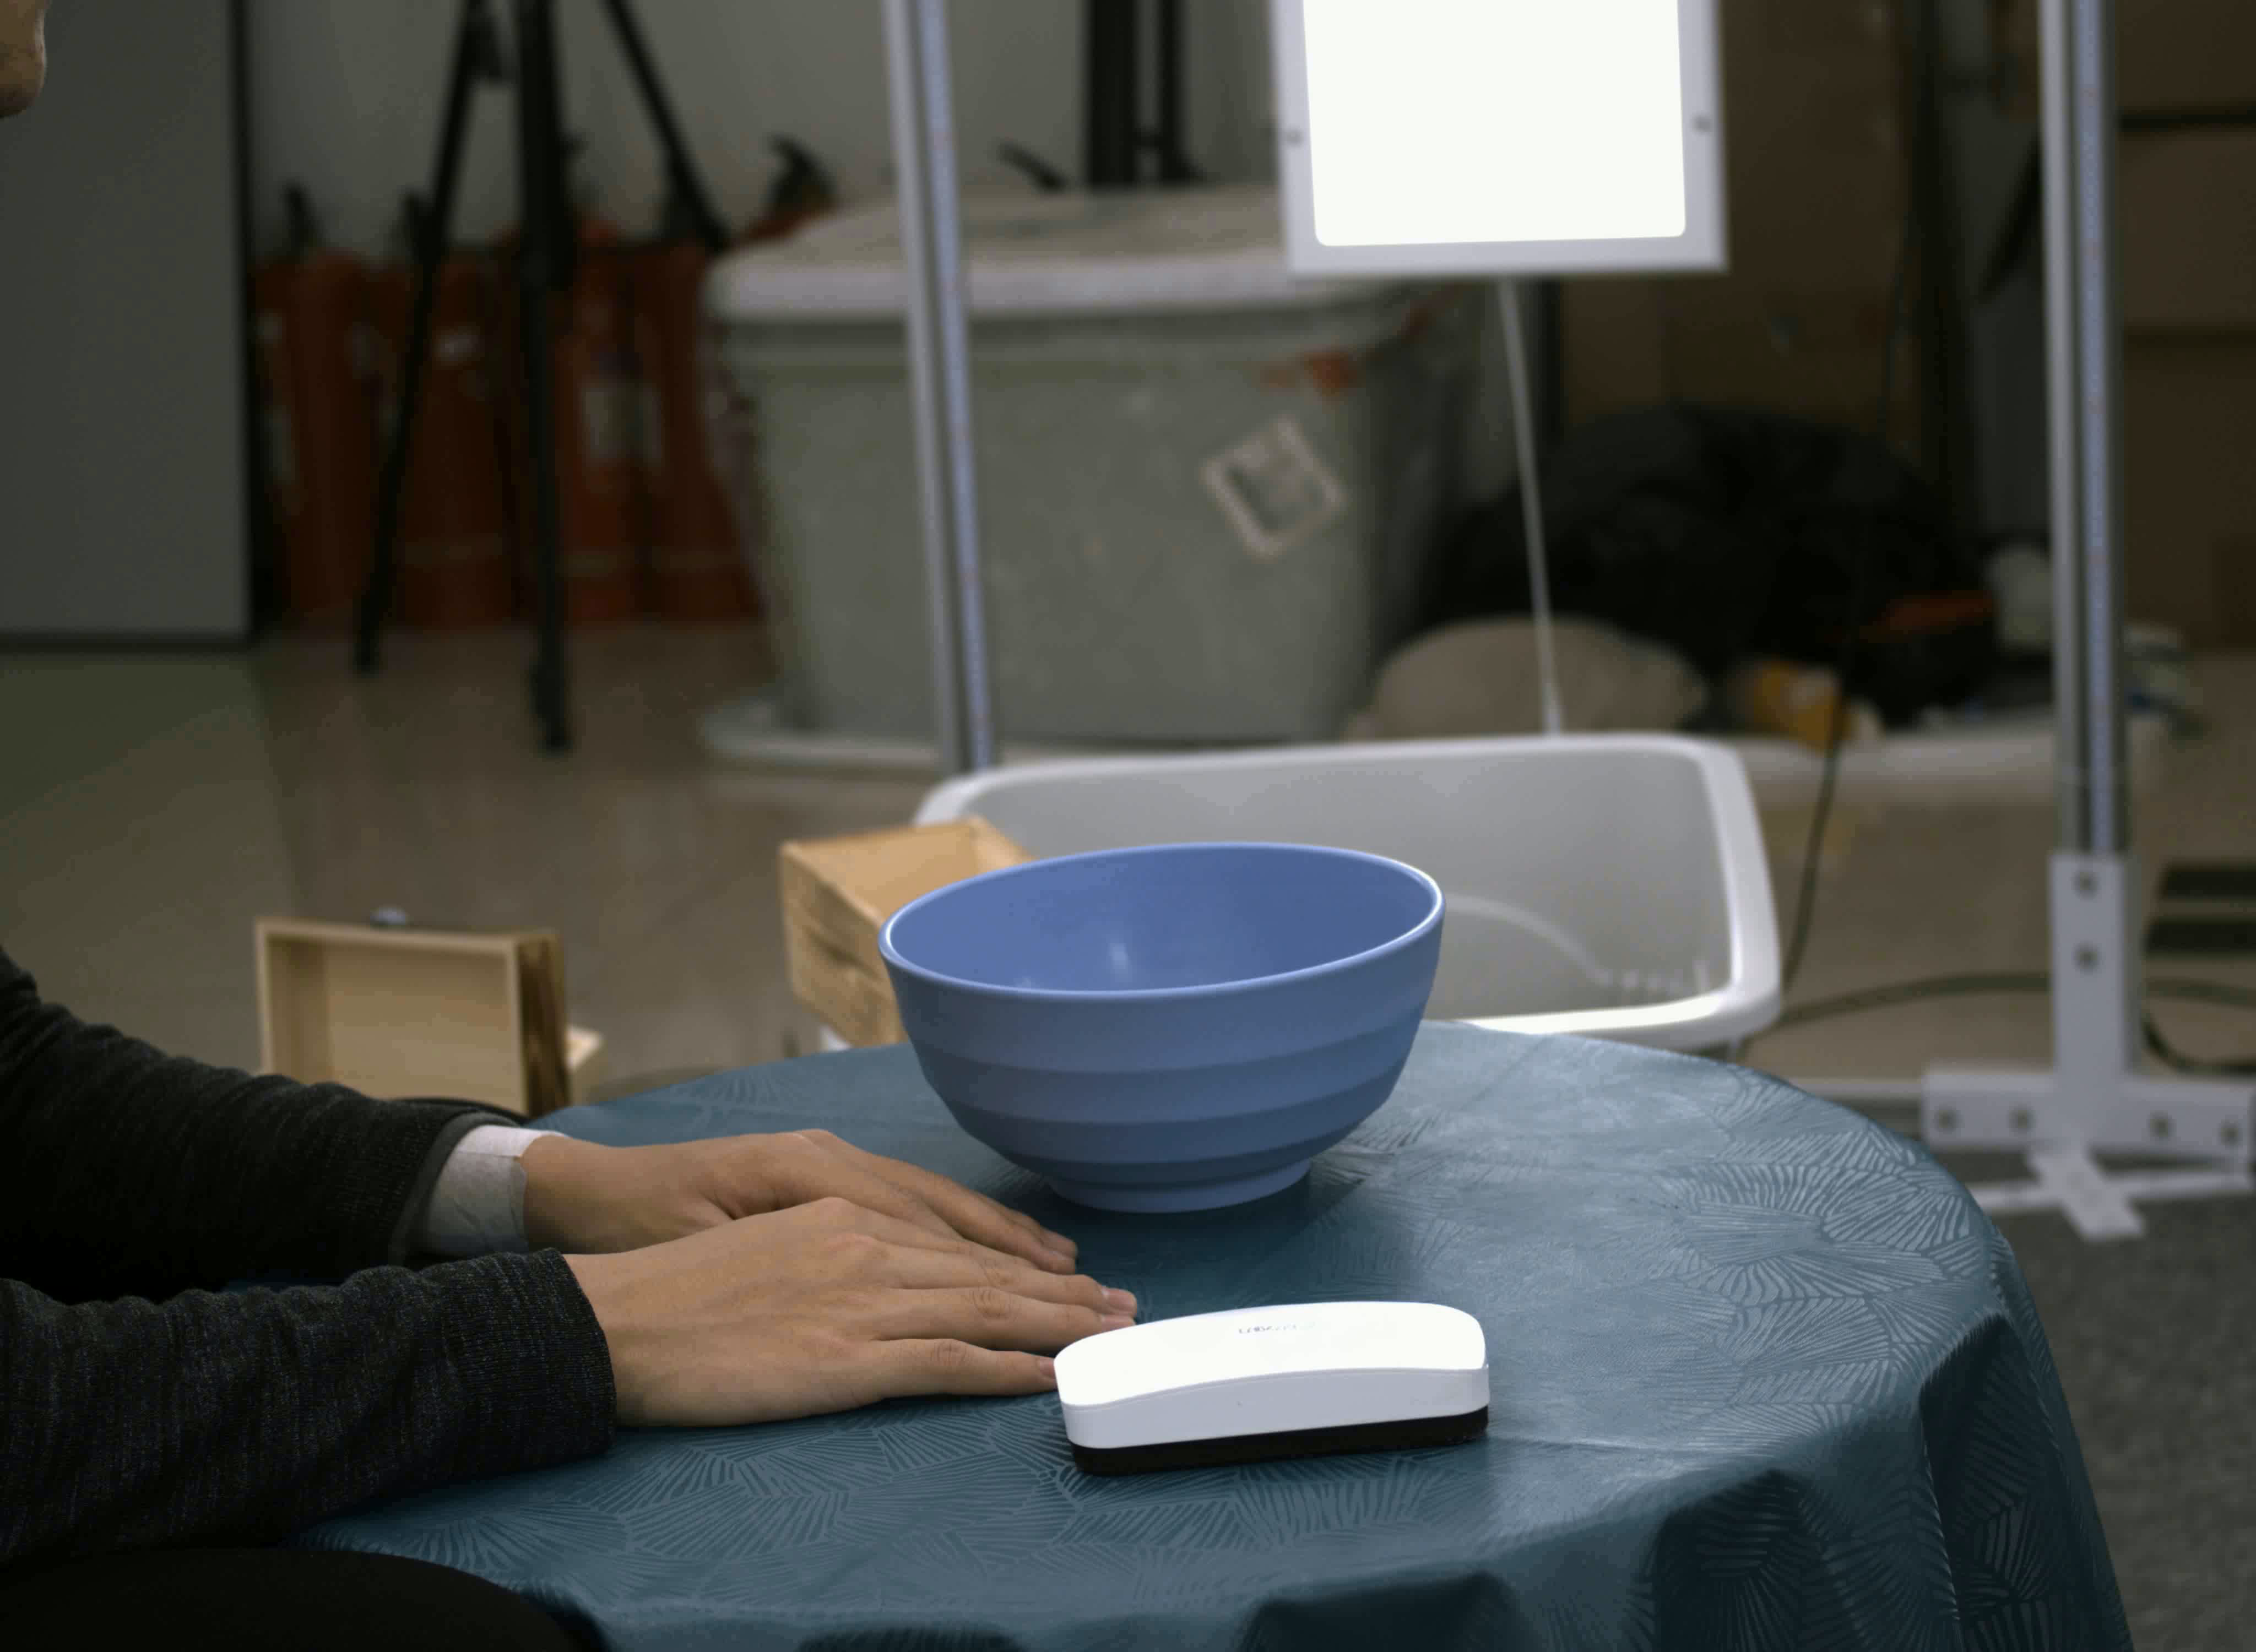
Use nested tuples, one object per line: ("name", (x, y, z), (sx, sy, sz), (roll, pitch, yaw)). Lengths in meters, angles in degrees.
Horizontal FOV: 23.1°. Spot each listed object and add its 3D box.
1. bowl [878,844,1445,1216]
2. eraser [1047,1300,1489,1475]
("bowl", (0.014, 0.076, 1.903), (0.196, 0.096, 0.196), (-4, 14, 0))
("eraser", (0.042, 0.167, 1.653), (0.131, 0.034, 0.063), (-4, 13, -1))
